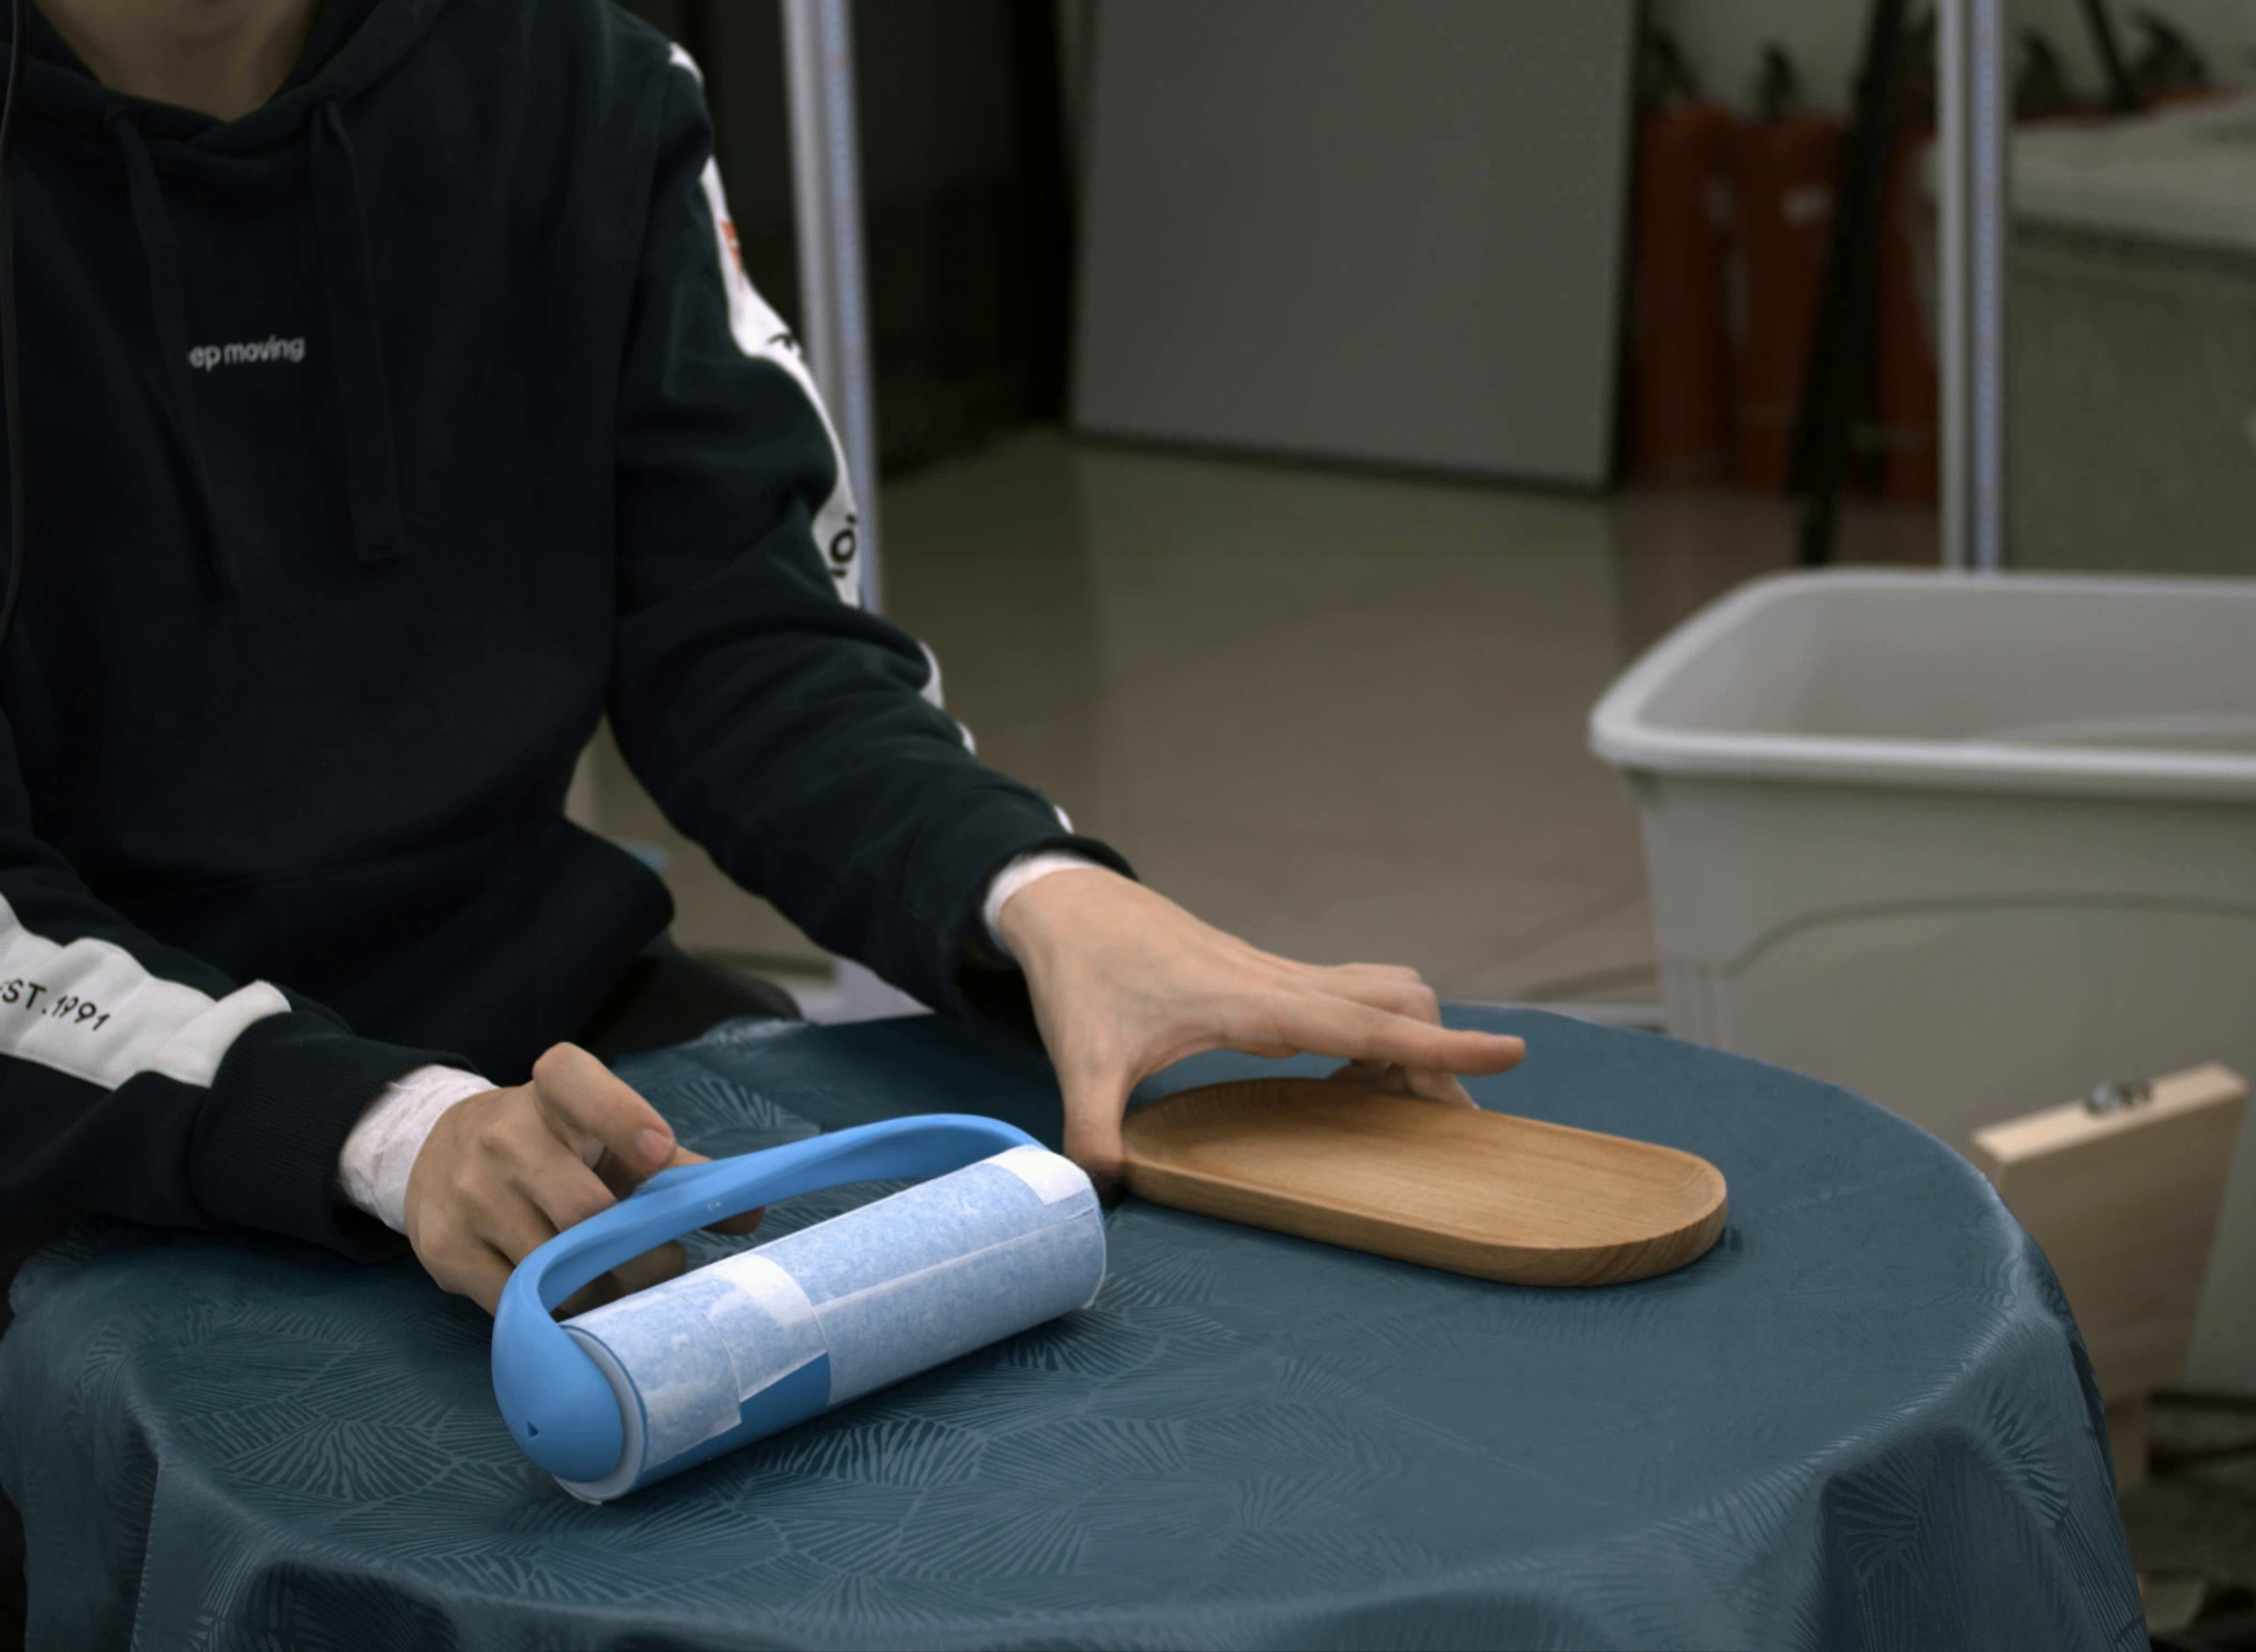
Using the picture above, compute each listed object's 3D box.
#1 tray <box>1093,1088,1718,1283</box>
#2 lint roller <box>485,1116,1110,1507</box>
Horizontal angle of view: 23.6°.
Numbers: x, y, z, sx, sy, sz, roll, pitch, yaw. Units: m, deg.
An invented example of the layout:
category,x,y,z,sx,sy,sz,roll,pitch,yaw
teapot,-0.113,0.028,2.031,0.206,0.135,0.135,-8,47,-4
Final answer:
category,x,y,z,sx,sy,sz,roll,pitch,yaw
tray,0.087,0.115,1.737,0.233,0.020,0.099,6,17,42
lint roller,-0.133,0.137,1.627,0.182,0.068,0.224,9,20,40
